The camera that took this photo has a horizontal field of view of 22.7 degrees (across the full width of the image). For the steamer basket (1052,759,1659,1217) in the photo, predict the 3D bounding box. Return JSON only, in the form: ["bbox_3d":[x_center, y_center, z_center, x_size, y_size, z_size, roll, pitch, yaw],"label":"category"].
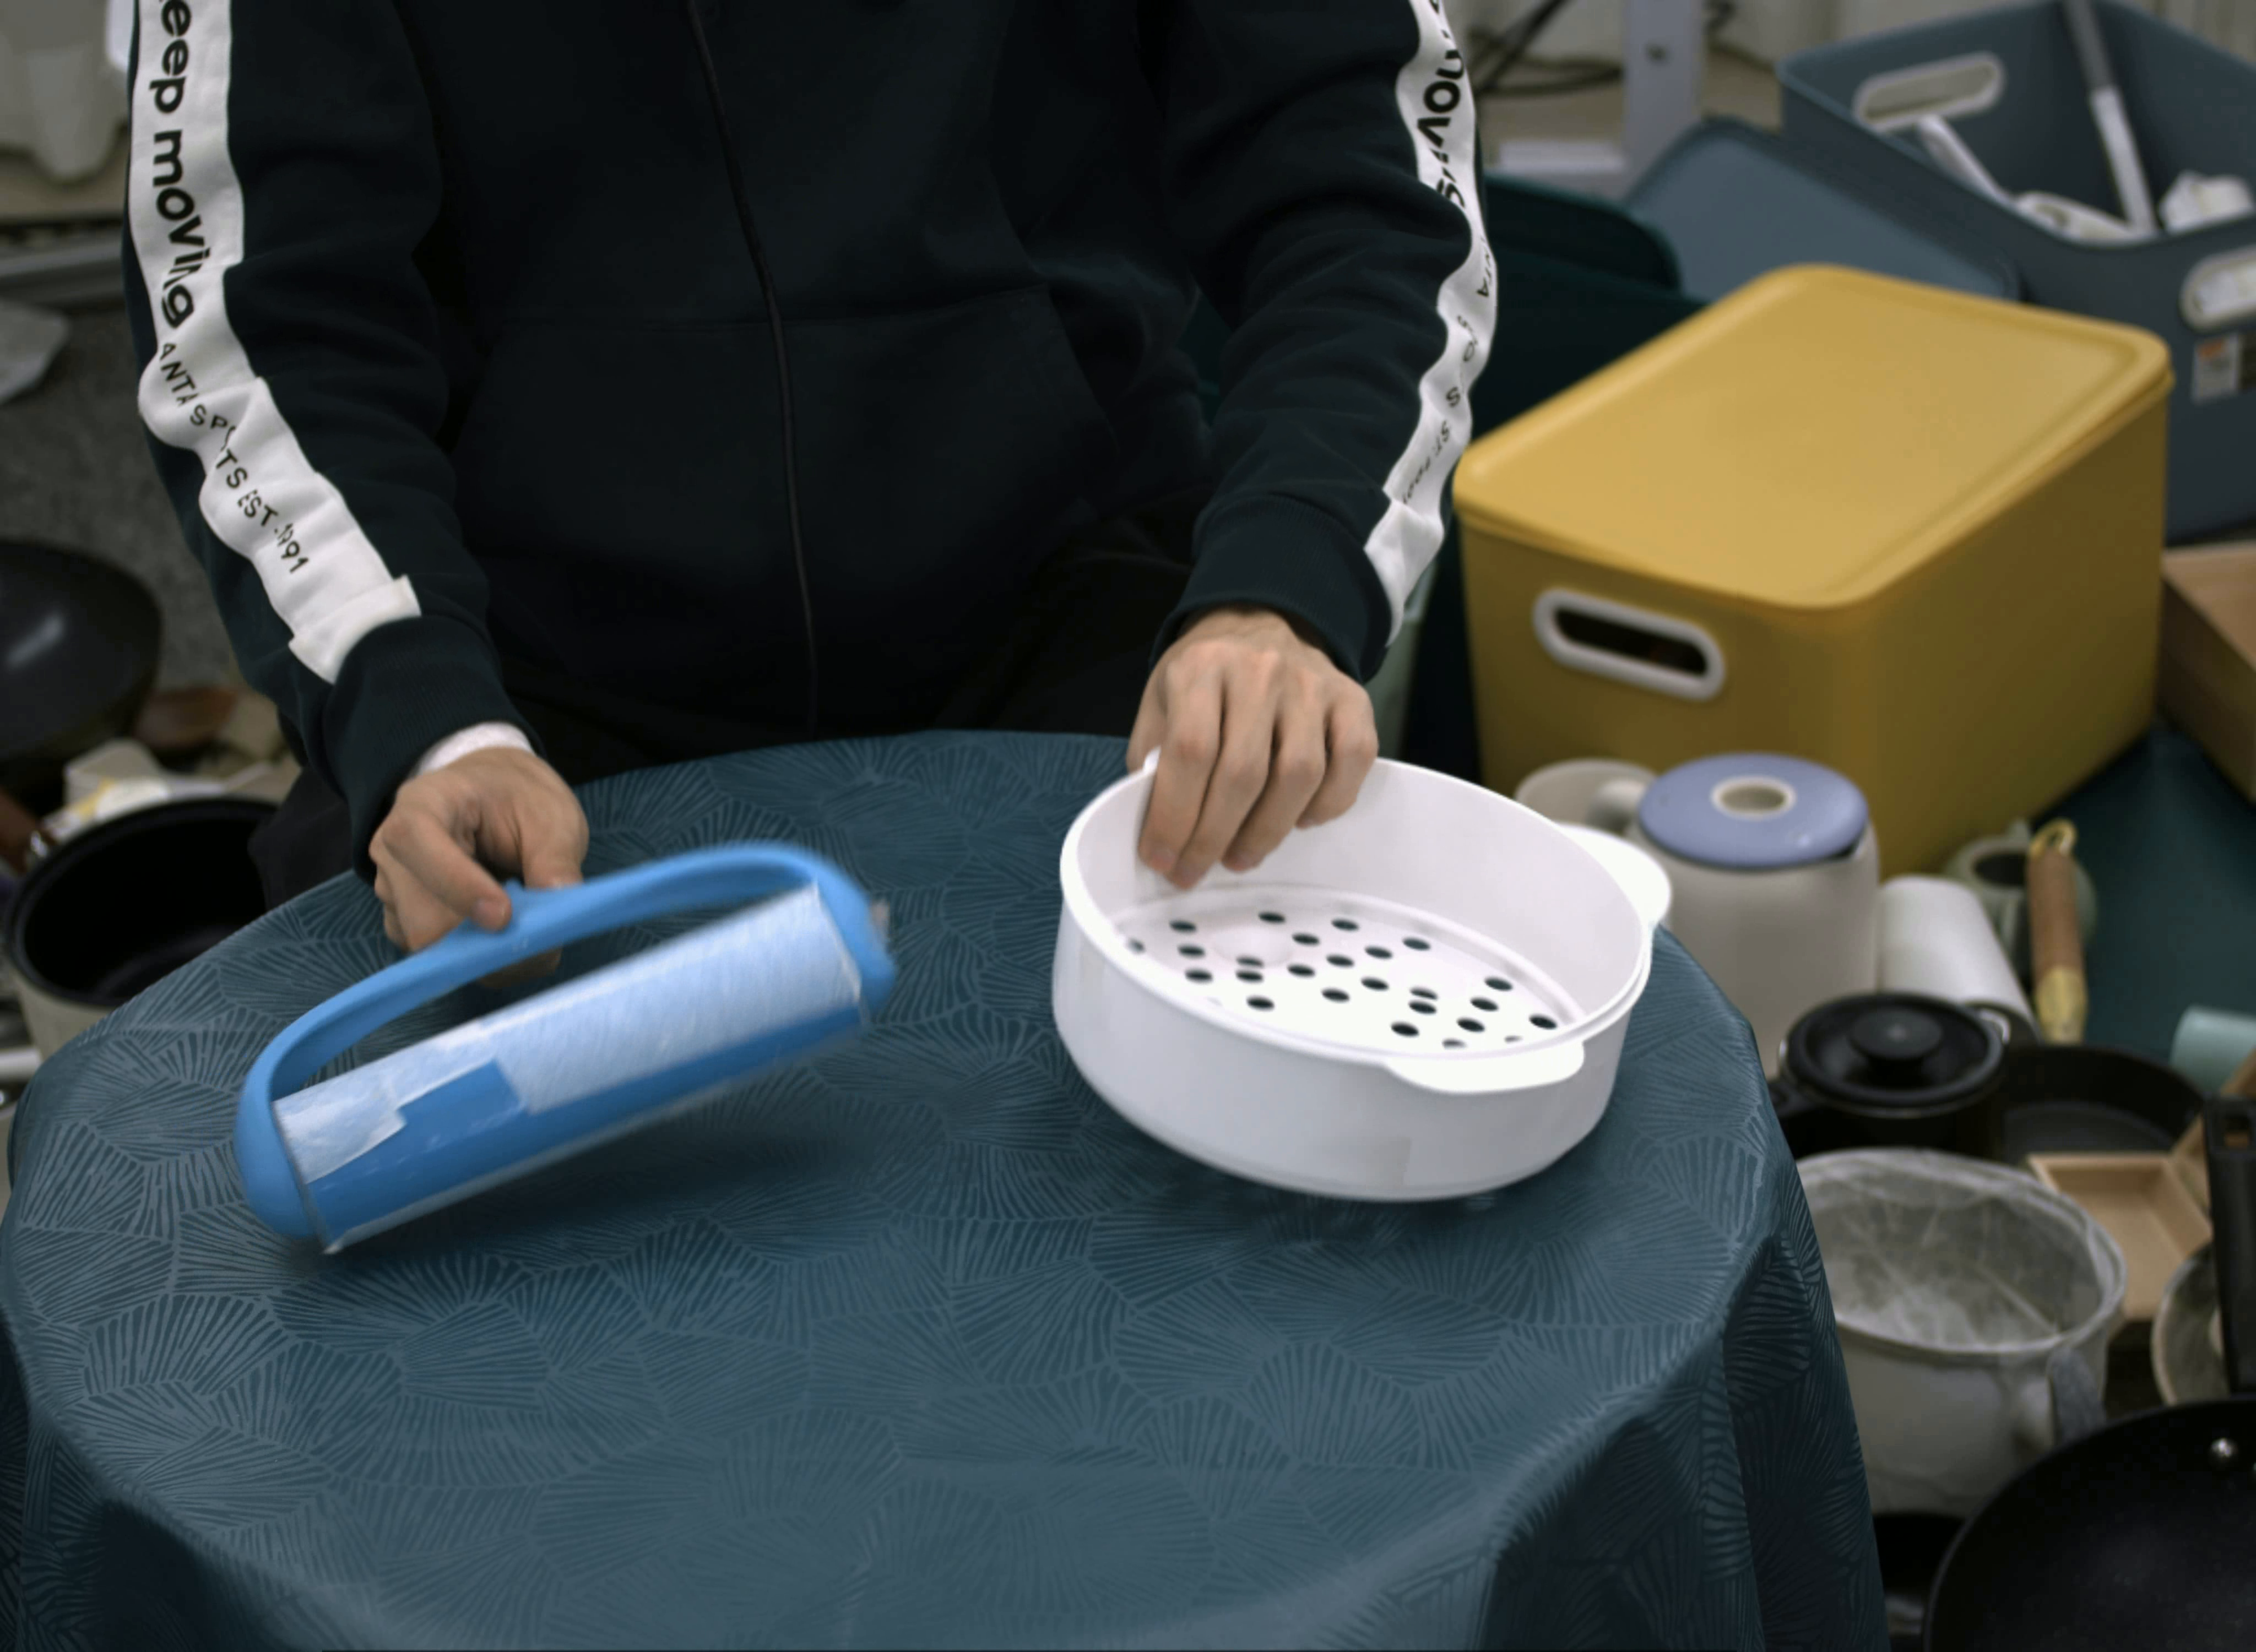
[{"bbox_3d":[0.074,0.056,1.883,0.202,0.068,0.232,-5,30,-25],"label":"steamer basket"}]

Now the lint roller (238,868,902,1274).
[{"bbox_3d":[-0.204,0.062,1.900,0.229,0.067,0.181,-24,31,-13],"label":"lint roller"}]
